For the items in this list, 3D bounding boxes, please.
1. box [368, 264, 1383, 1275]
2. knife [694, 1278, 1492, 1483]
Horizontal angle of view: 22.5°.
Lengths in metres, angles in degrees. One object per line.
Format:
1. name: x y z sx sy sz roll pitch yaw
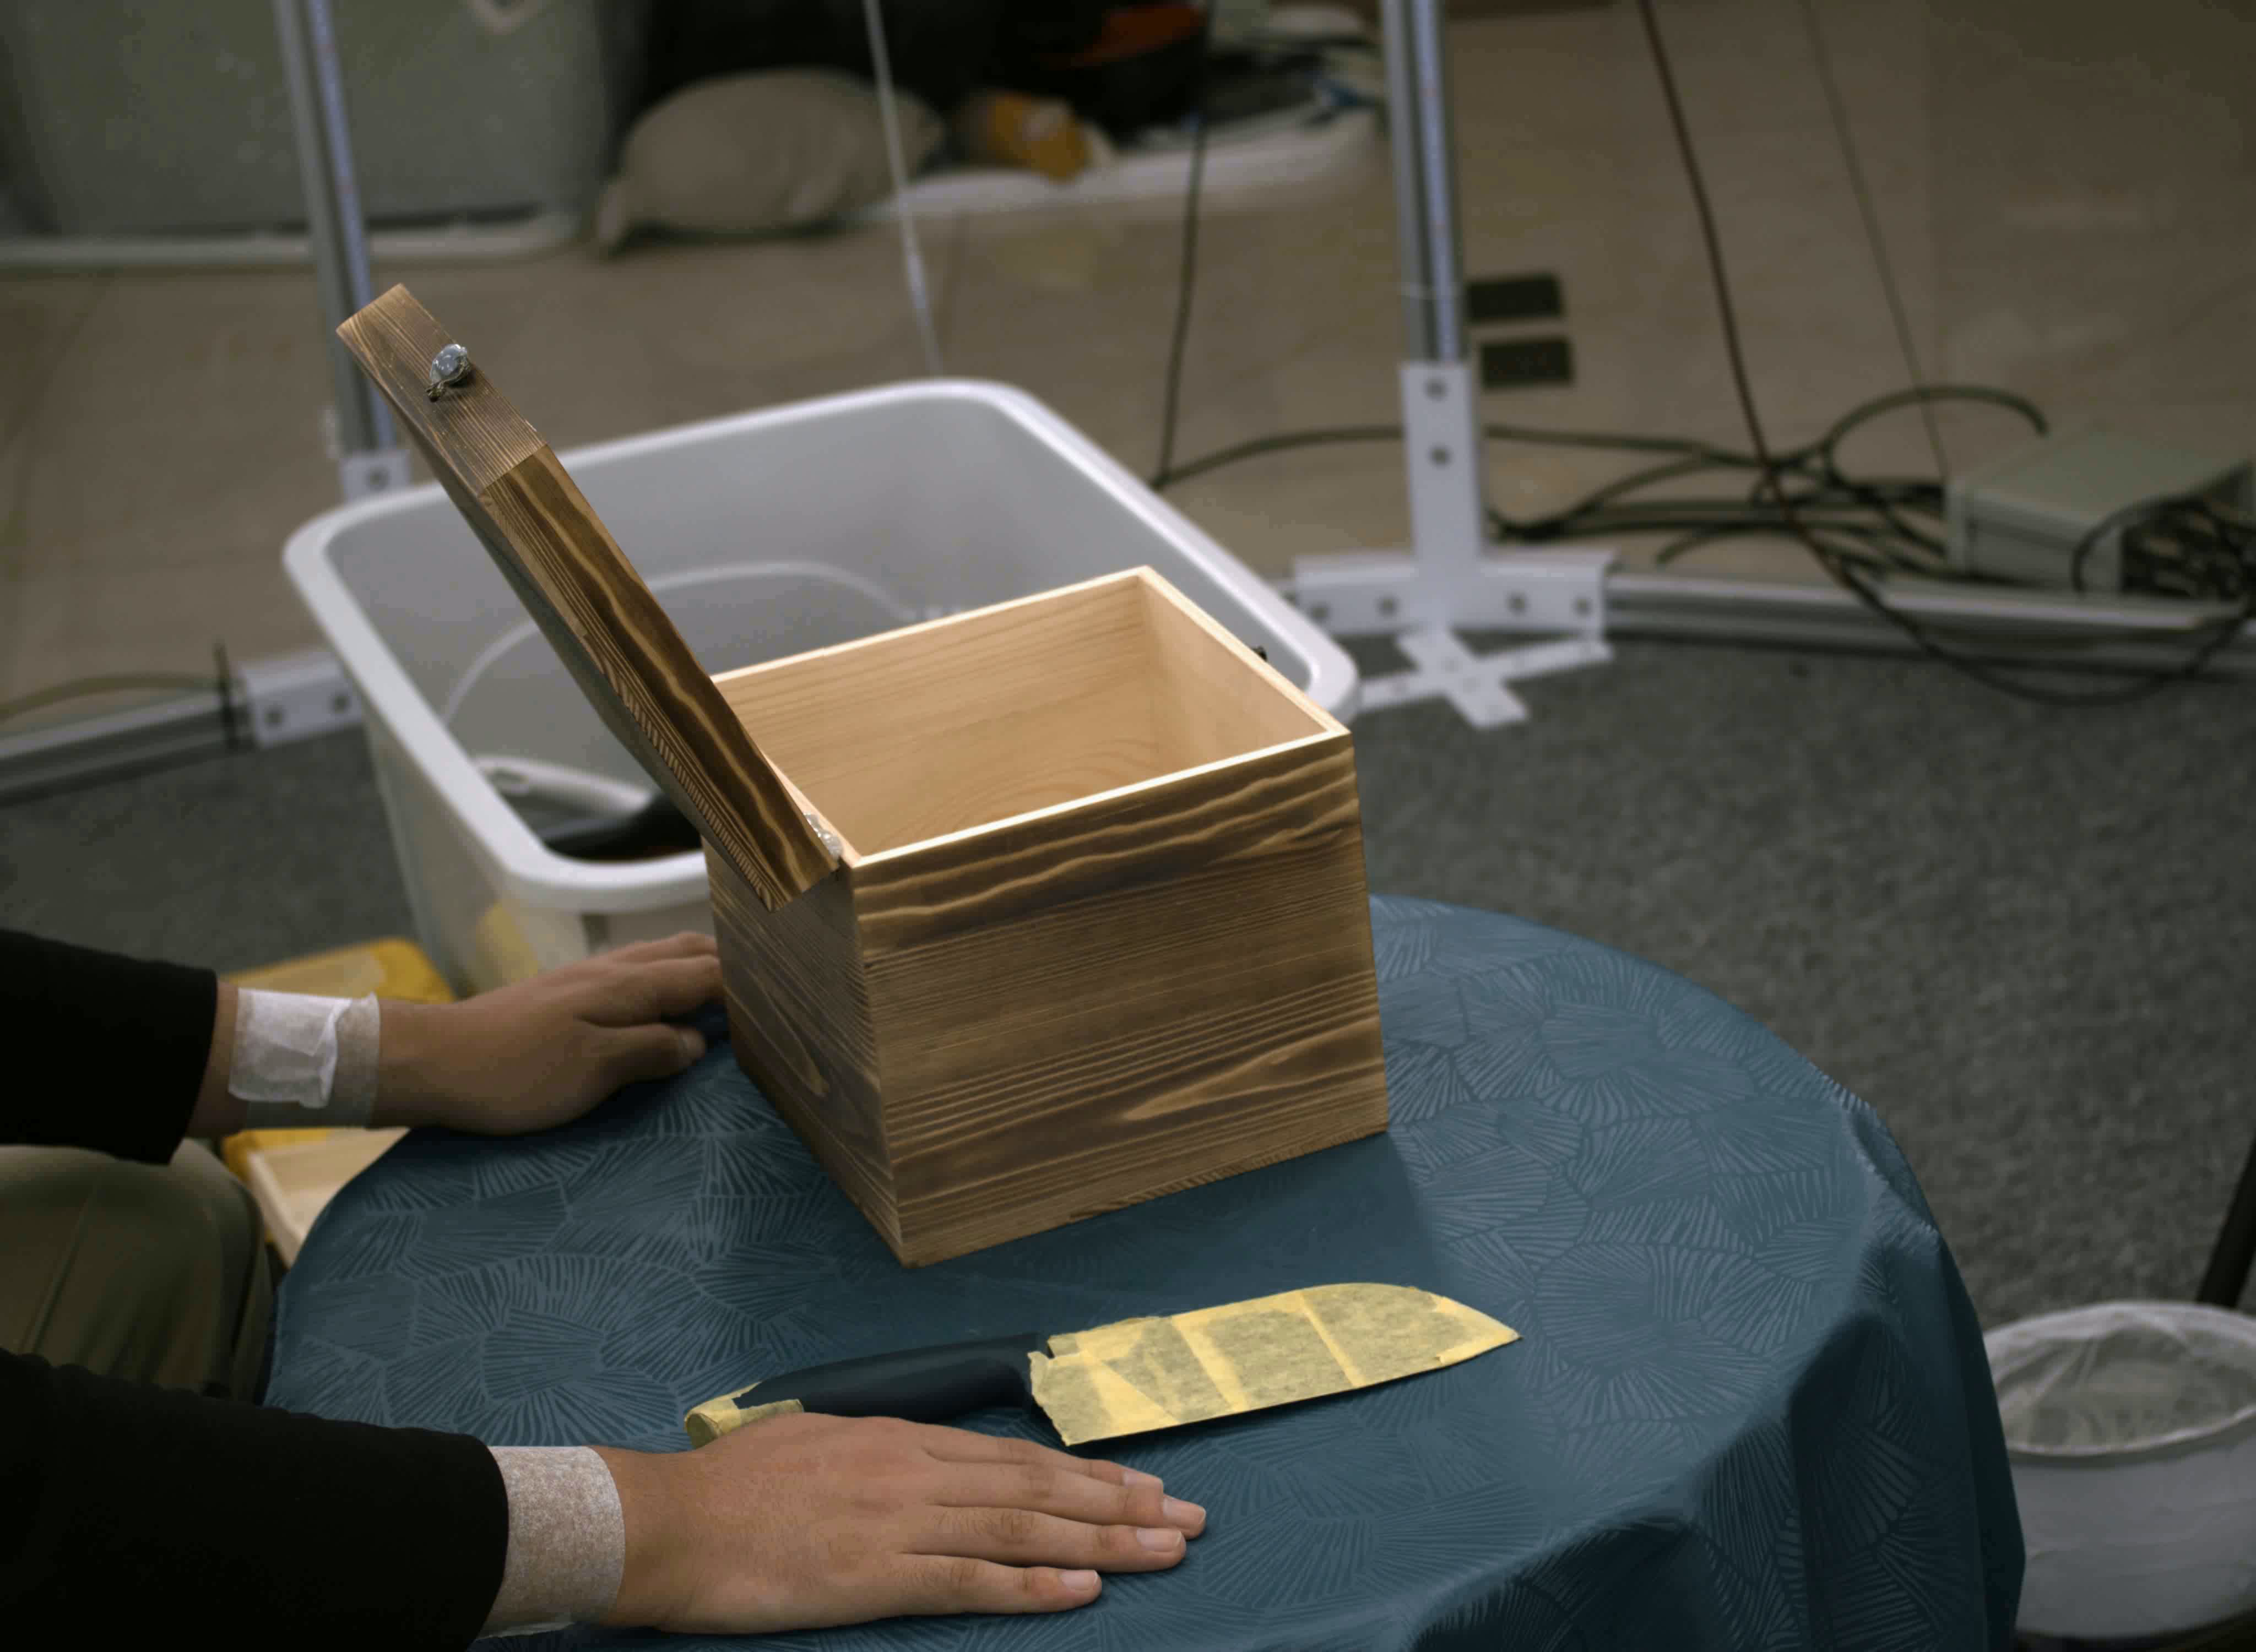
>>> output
1. box: -0.093 -0.042 2.126 0.321 0.382 0.206 -16 29 -17
2. knife: -0.010 0.198 2.009 0.289 0.027 0.080 -10 23 -10
